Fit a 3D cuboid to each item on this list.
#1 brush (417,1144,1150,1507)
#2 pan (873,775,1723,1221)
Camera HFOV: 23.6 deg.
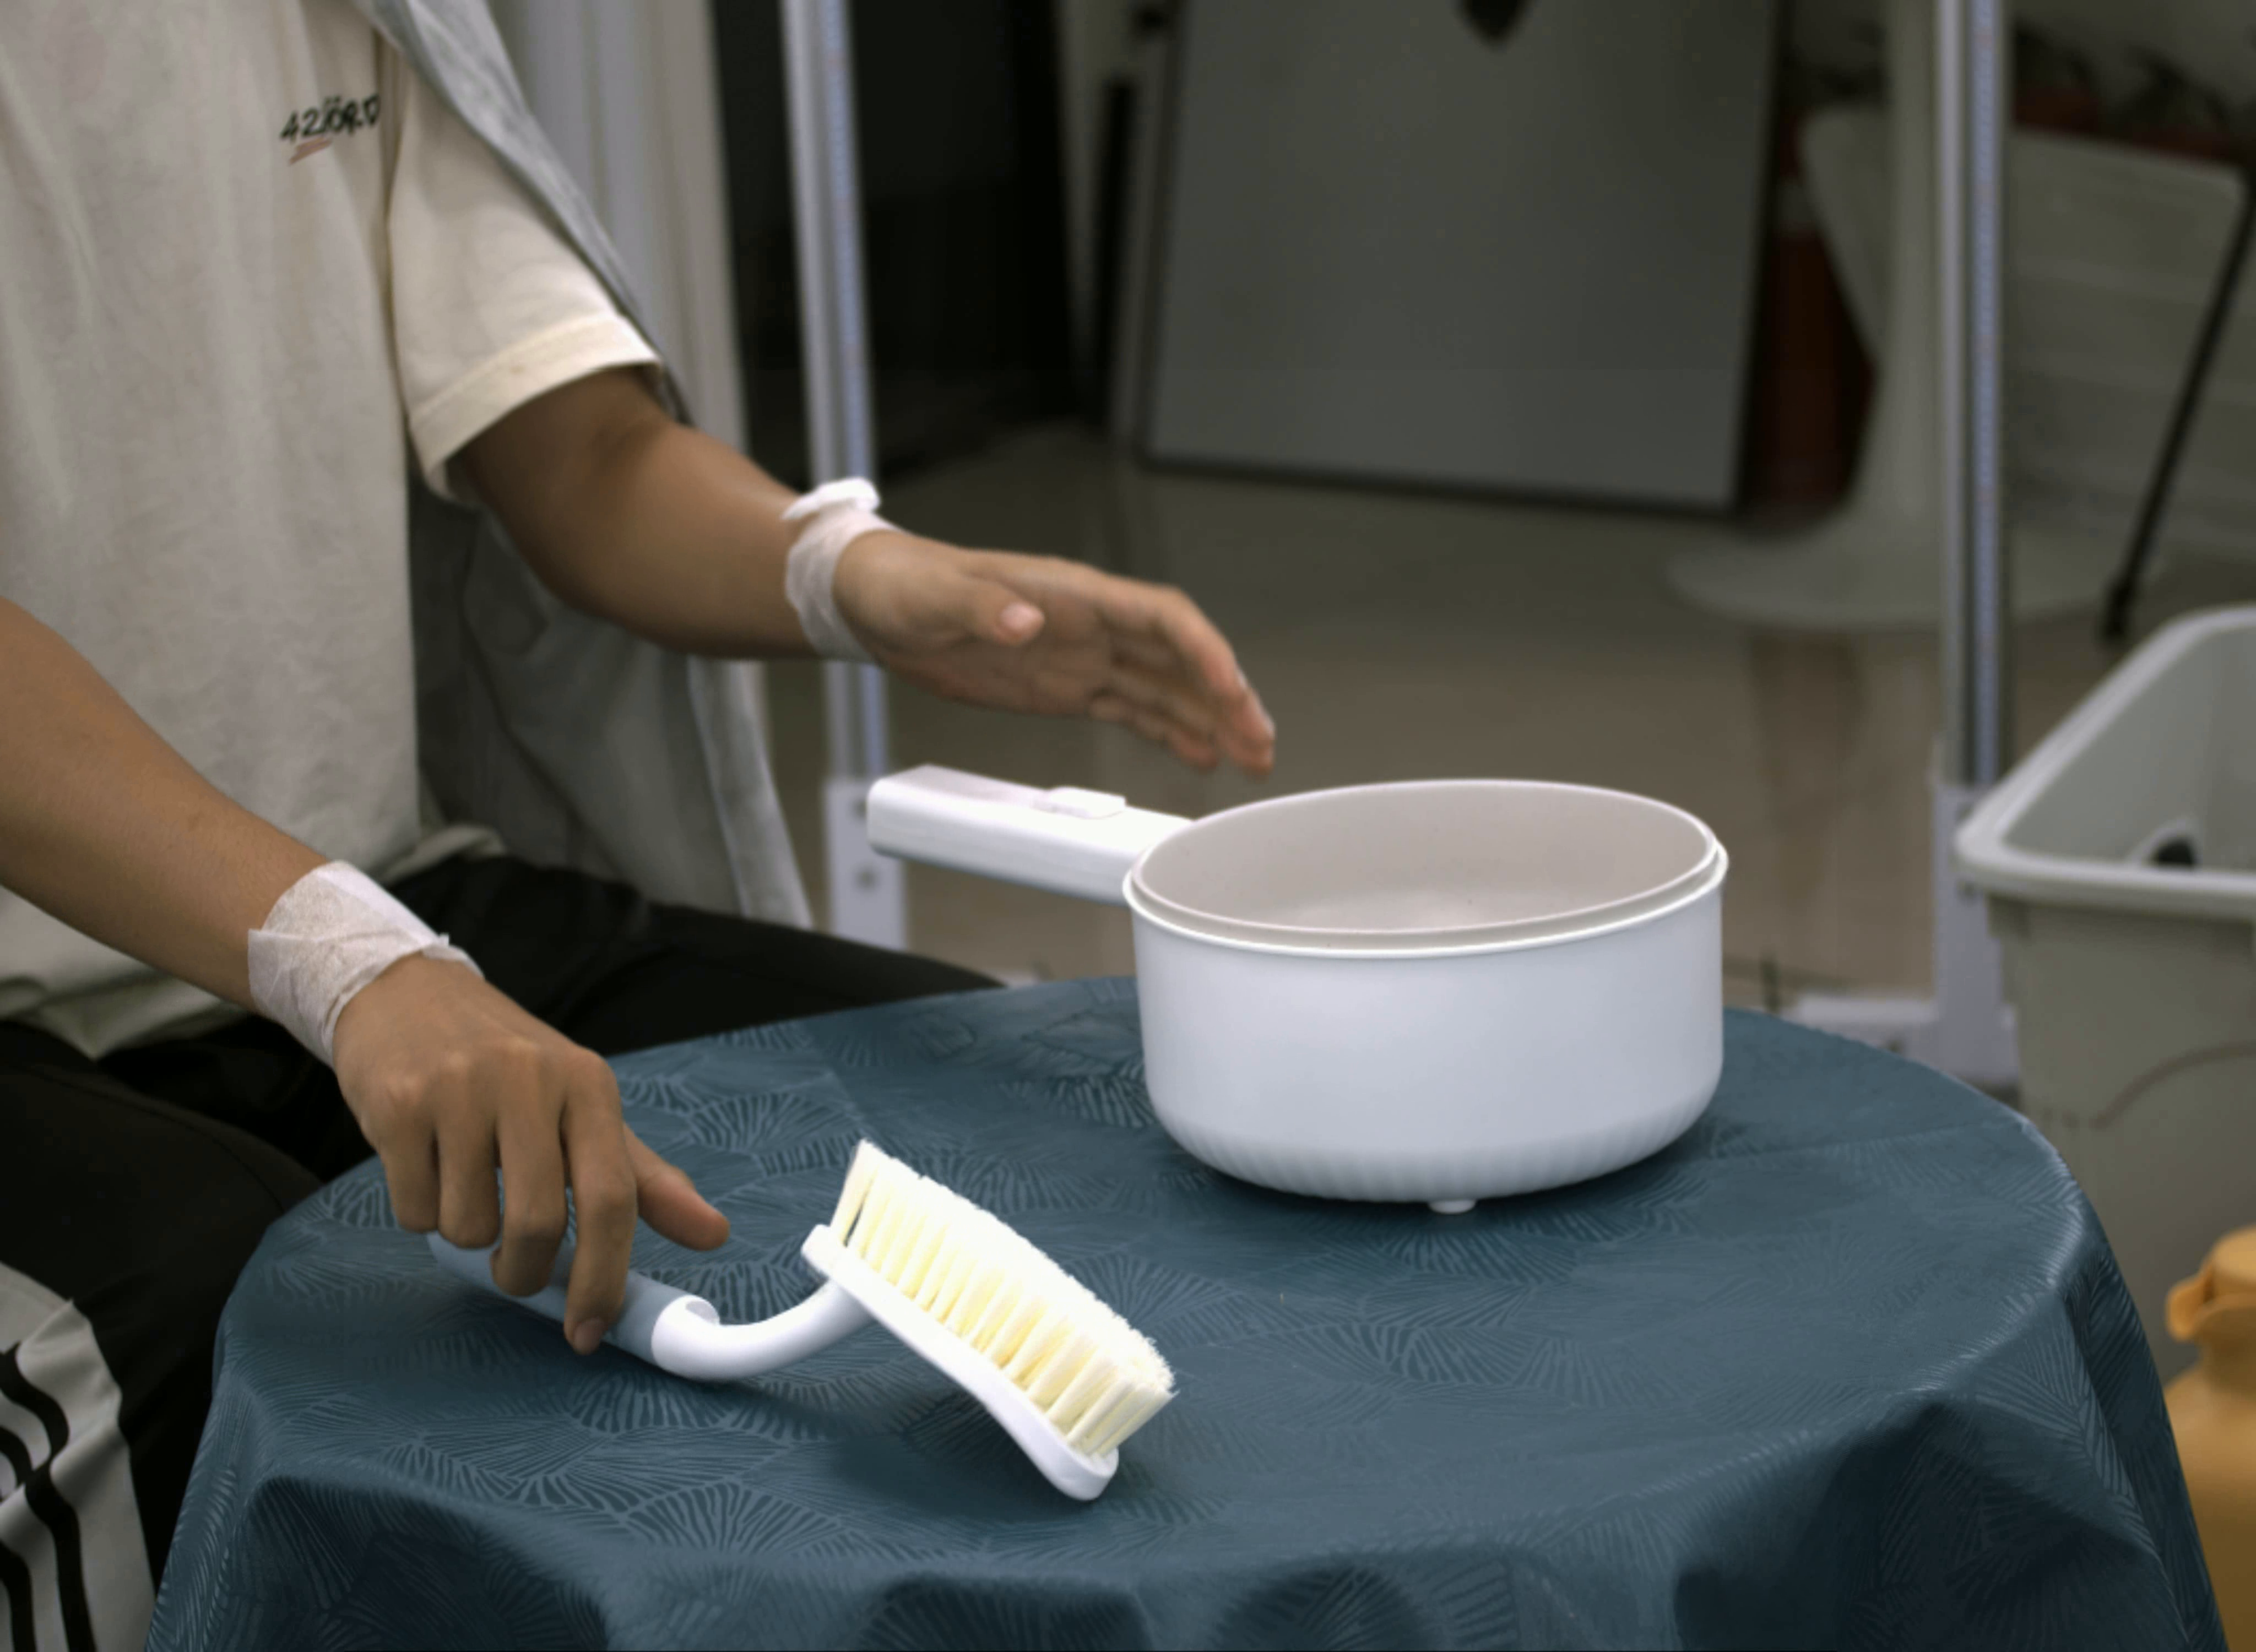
[{"bbox_3d":[-0.106,0.122,1.616,0.083,0.083,0.329,-31,29,-32],"label":"brush"},{"bbox_3d":[0.046,0.050,1.846,0.358,0.103,0.197,9,19,45],"label":"pan"}]
